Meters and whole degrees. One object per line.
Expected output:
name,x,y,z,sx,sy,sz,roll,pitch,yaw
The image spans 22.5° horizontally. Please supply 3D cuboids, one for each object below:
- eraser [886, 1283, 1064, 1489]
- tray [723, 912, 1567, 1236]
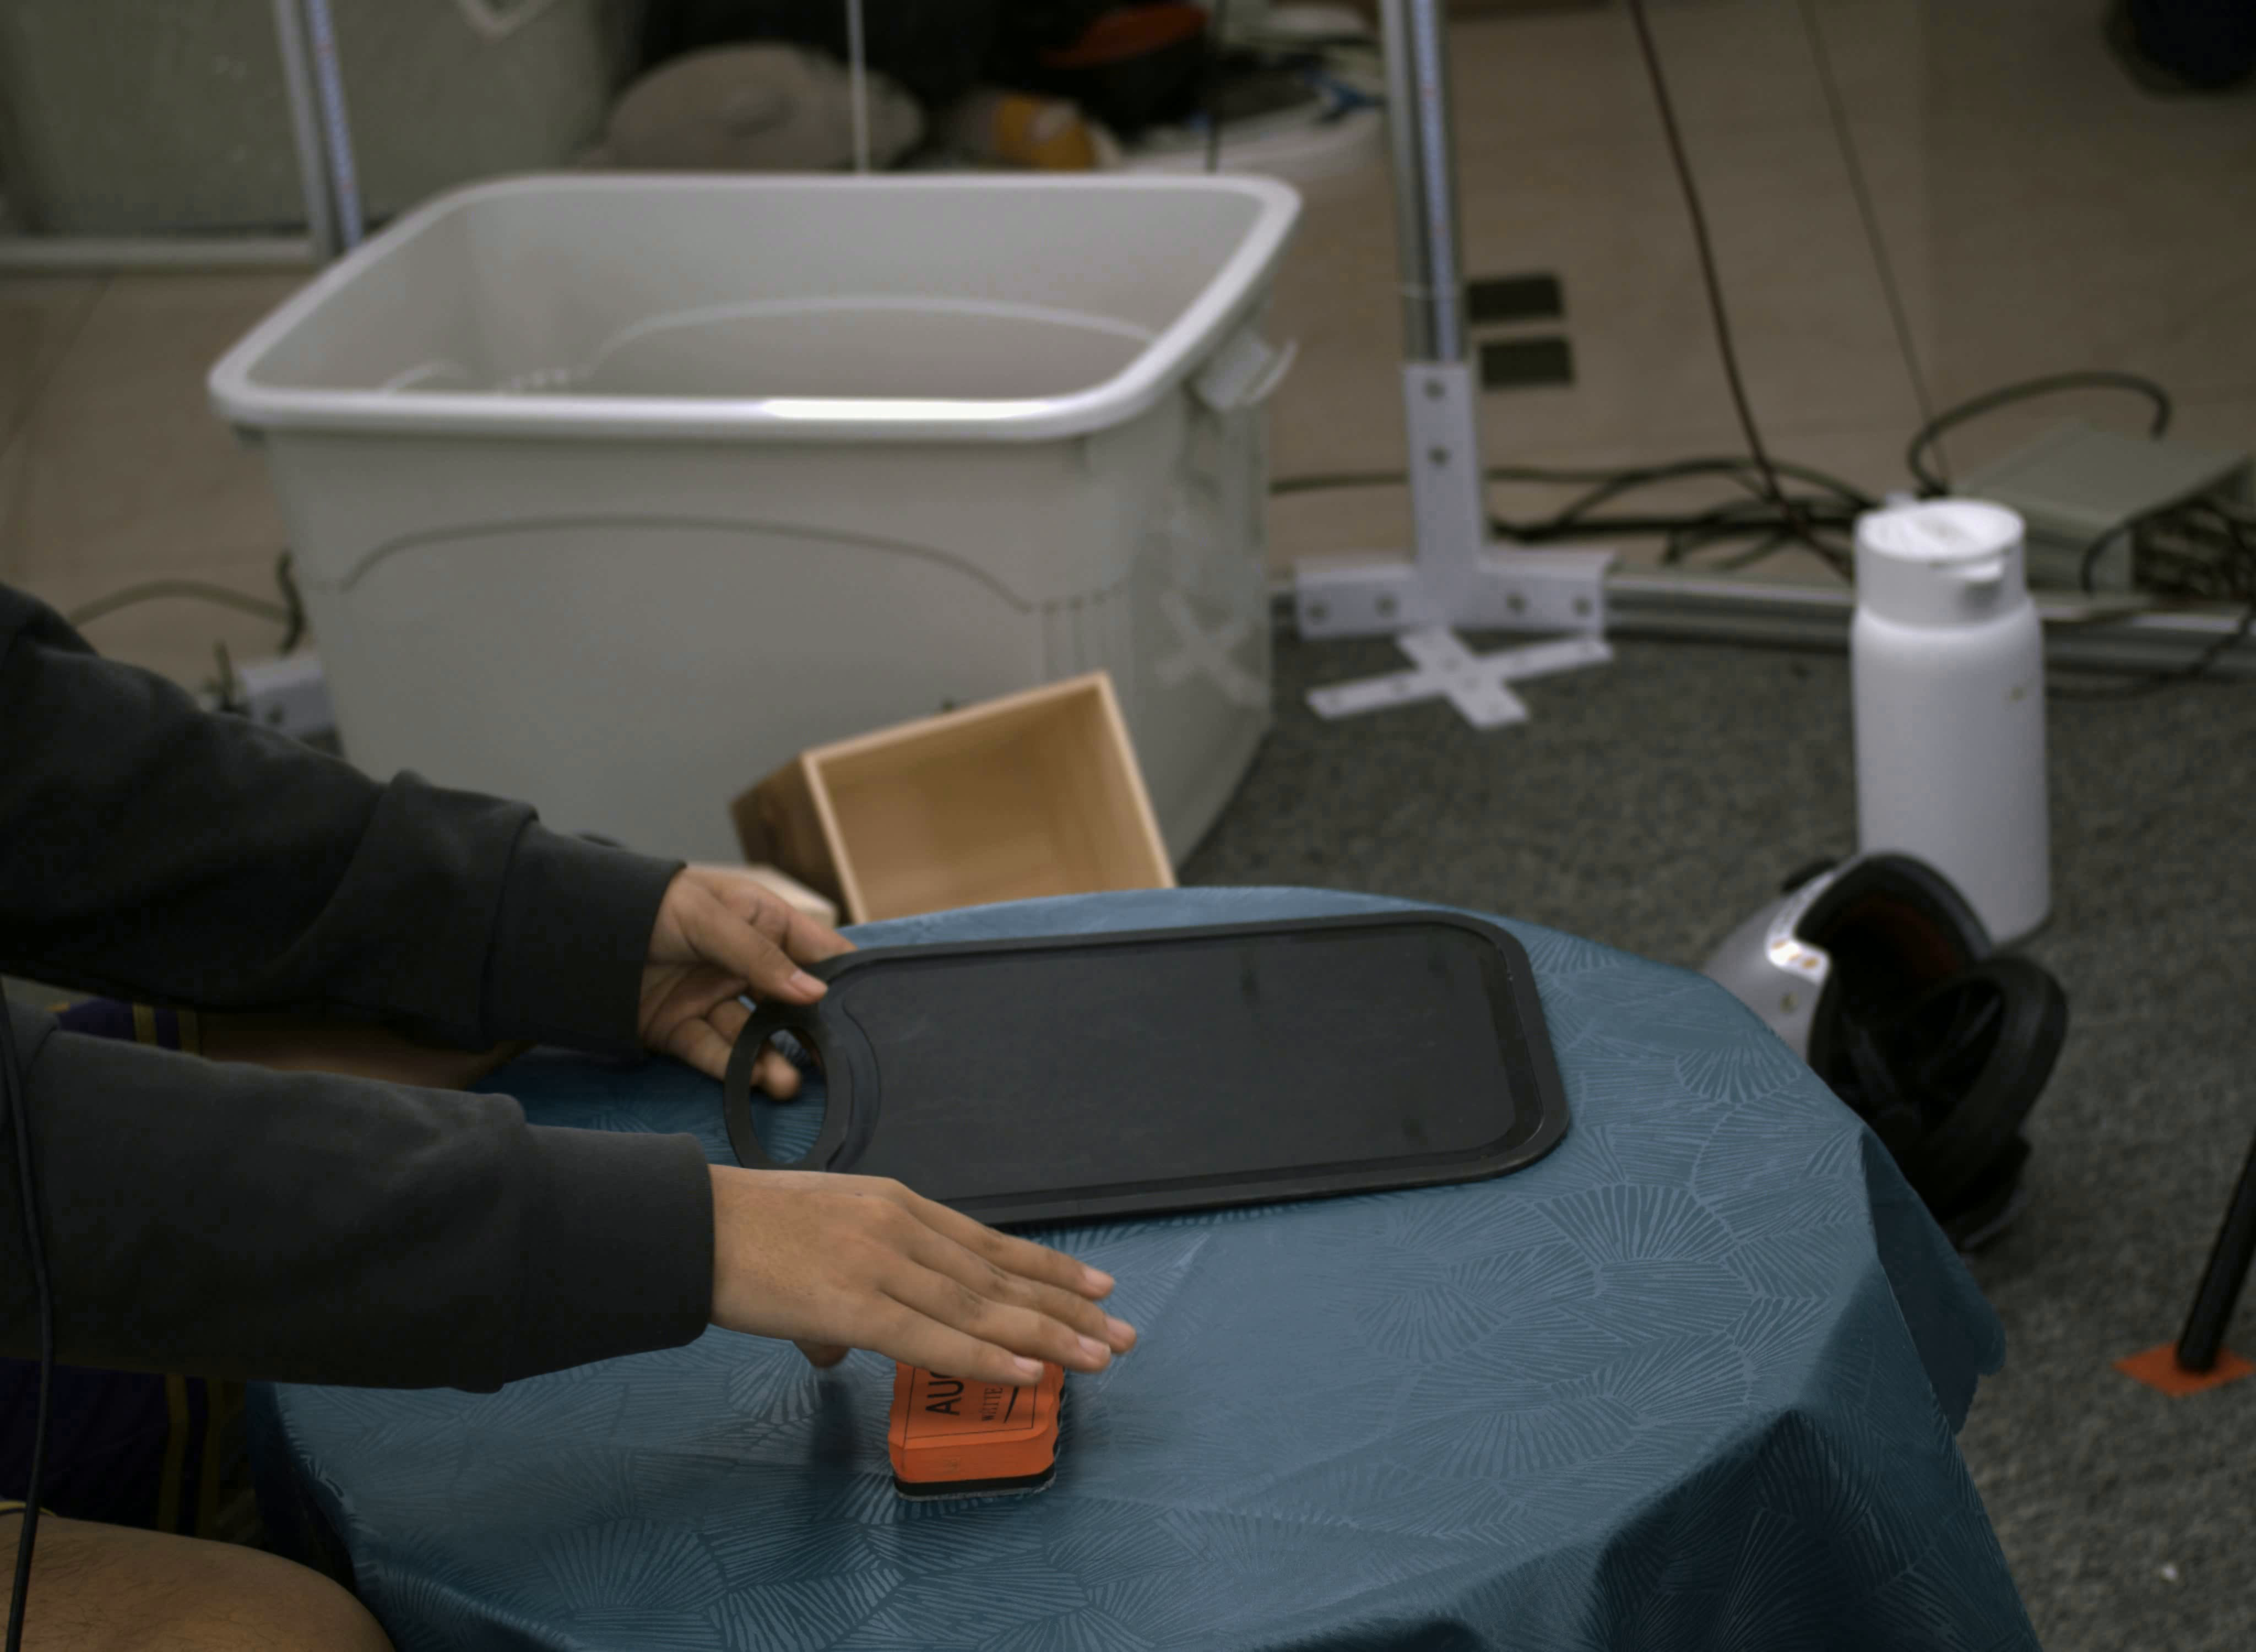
eraser,-0.053,0.197,2.001,0.059,0.023,0.106,-4,23,4
tray,0.003,0.094,2.212,0.325,0.010,0.208,-5,29,0
